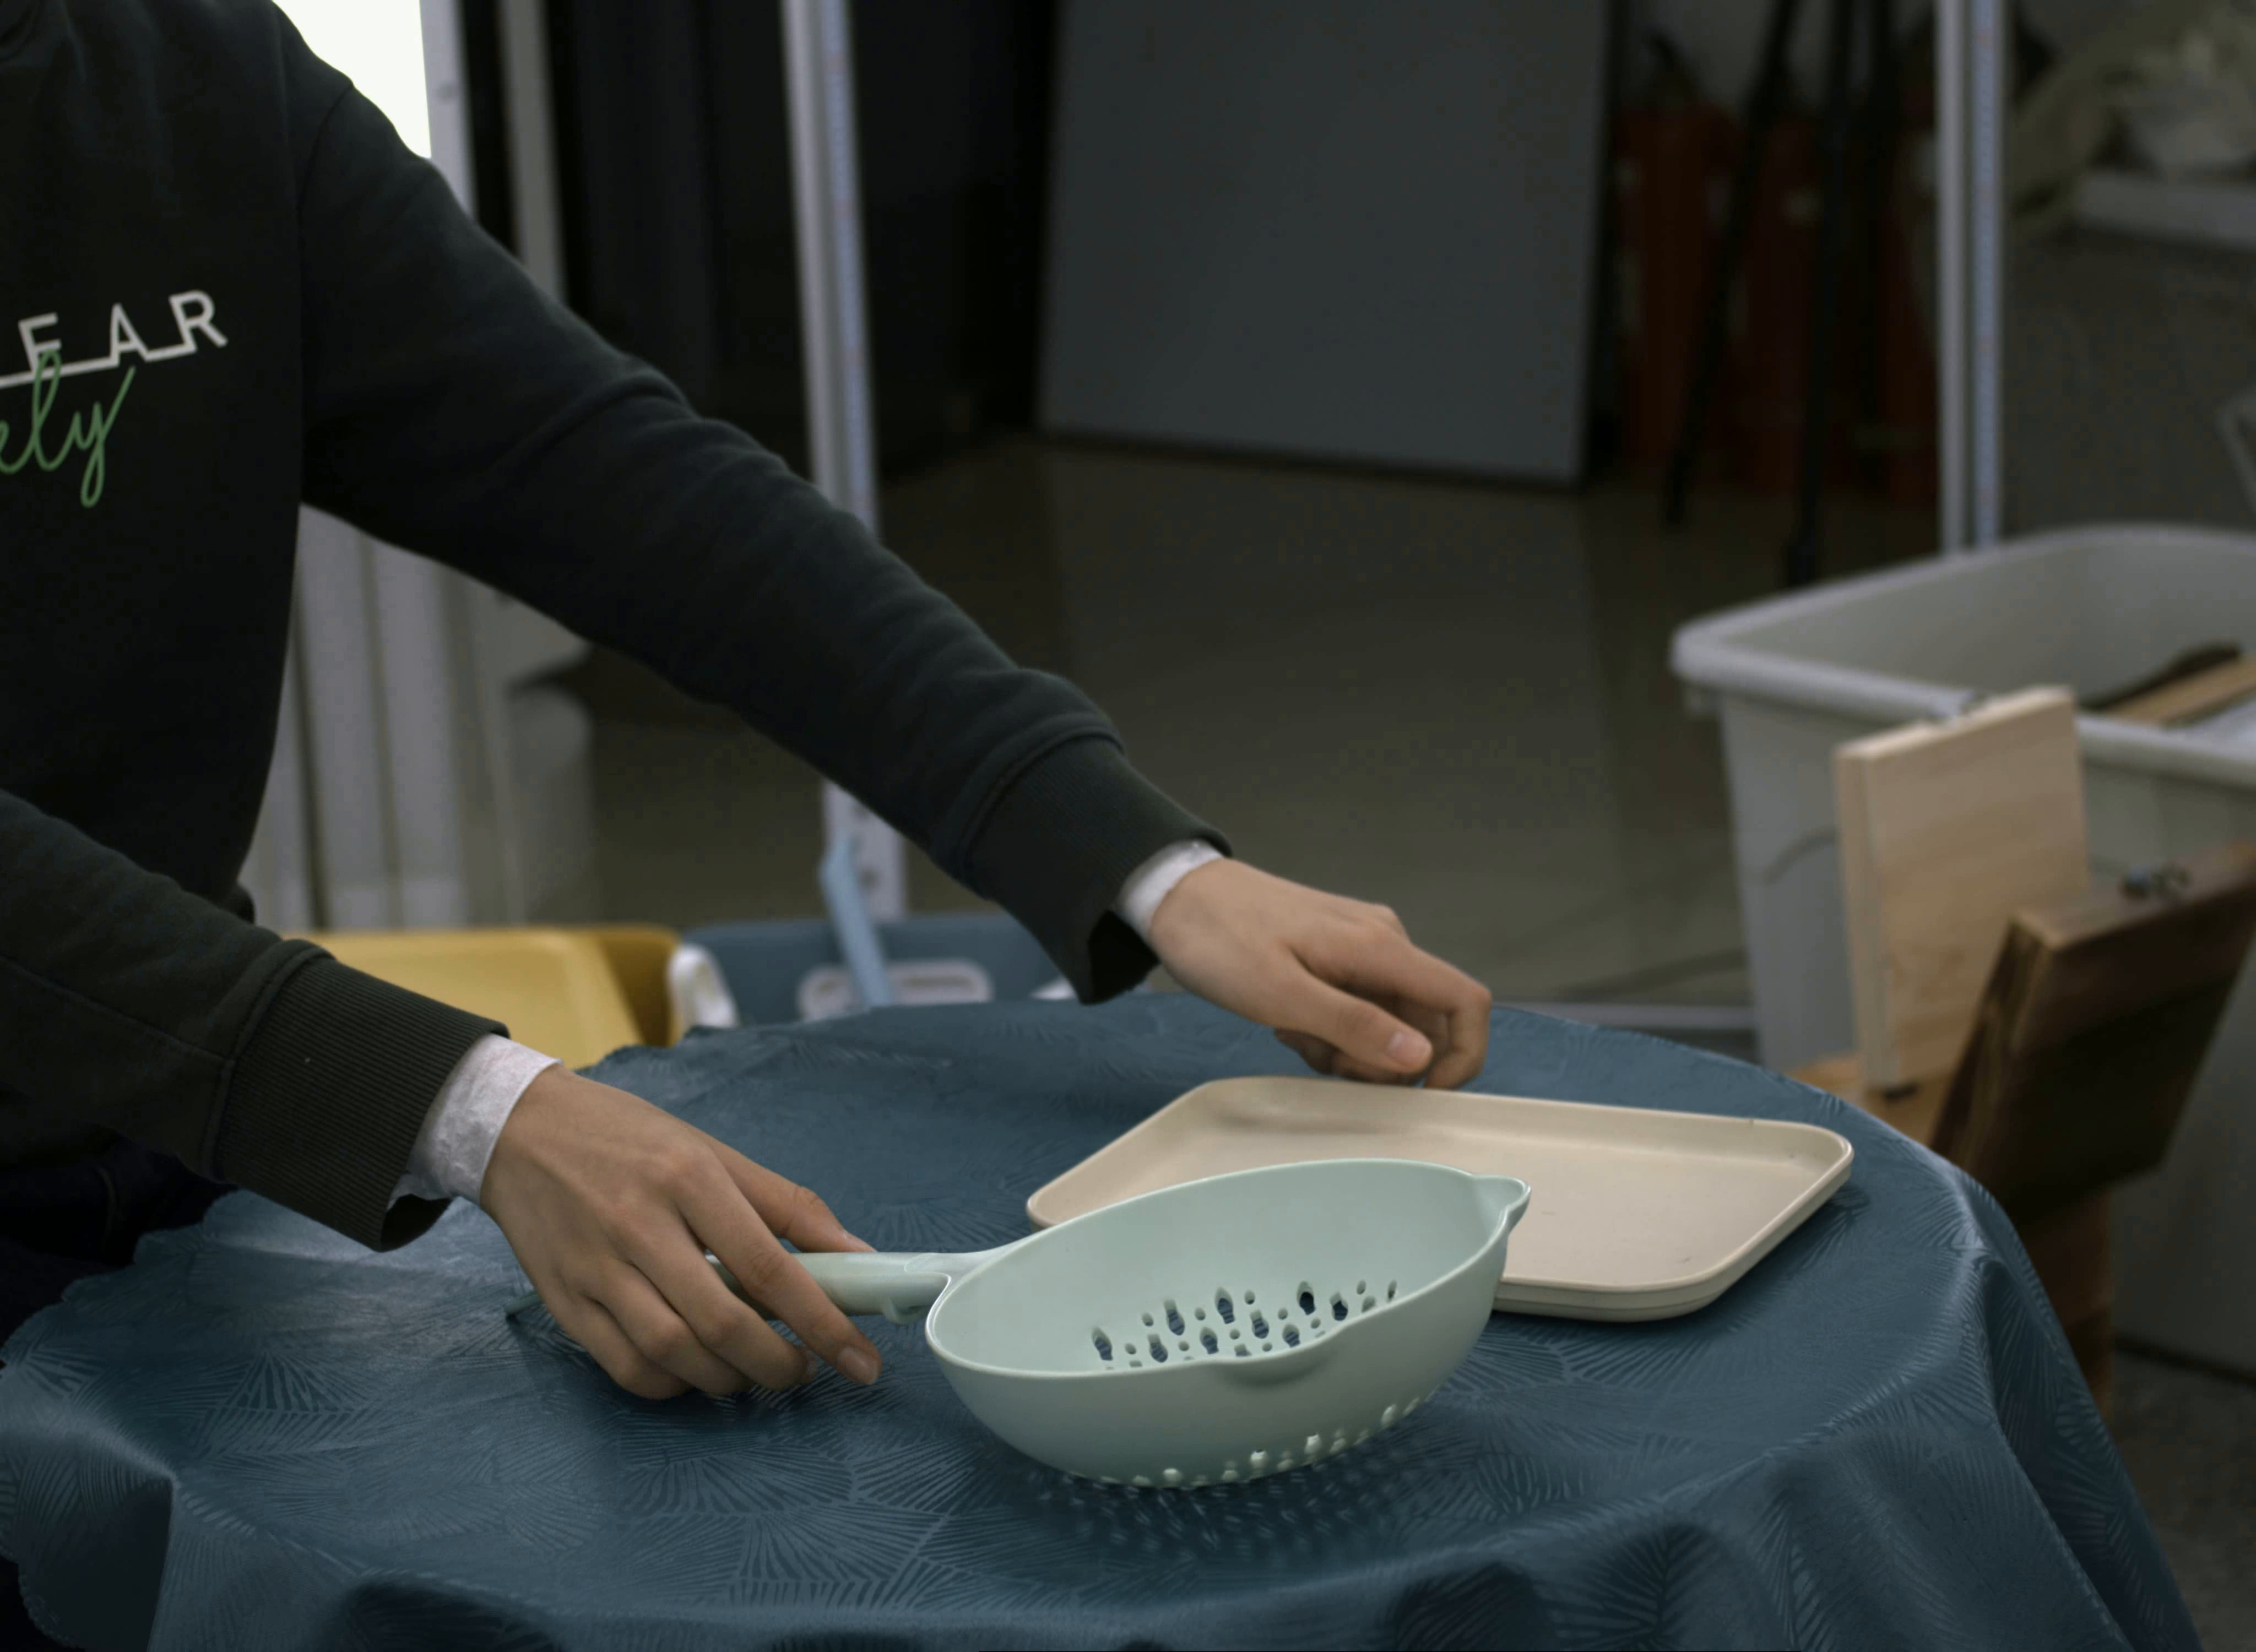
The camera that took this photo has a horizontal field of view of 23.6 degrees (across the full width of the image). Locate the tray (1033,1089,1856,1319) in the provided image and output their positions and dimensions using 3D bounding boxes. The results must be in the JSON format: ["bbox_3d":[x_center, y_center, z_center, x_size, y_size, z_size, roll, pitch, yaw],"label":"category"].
[{"bbox_3d":[0.102,0.120,1.714,0.240,0.017,0.169,2,15,28],"label":"tray"}]

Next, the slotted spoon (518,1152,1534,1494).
[{"bbox_3d":[-0.048,0.139,1.578,0.361,0.076,0.166,6,21,36],"label":"slotted spoon"}]
